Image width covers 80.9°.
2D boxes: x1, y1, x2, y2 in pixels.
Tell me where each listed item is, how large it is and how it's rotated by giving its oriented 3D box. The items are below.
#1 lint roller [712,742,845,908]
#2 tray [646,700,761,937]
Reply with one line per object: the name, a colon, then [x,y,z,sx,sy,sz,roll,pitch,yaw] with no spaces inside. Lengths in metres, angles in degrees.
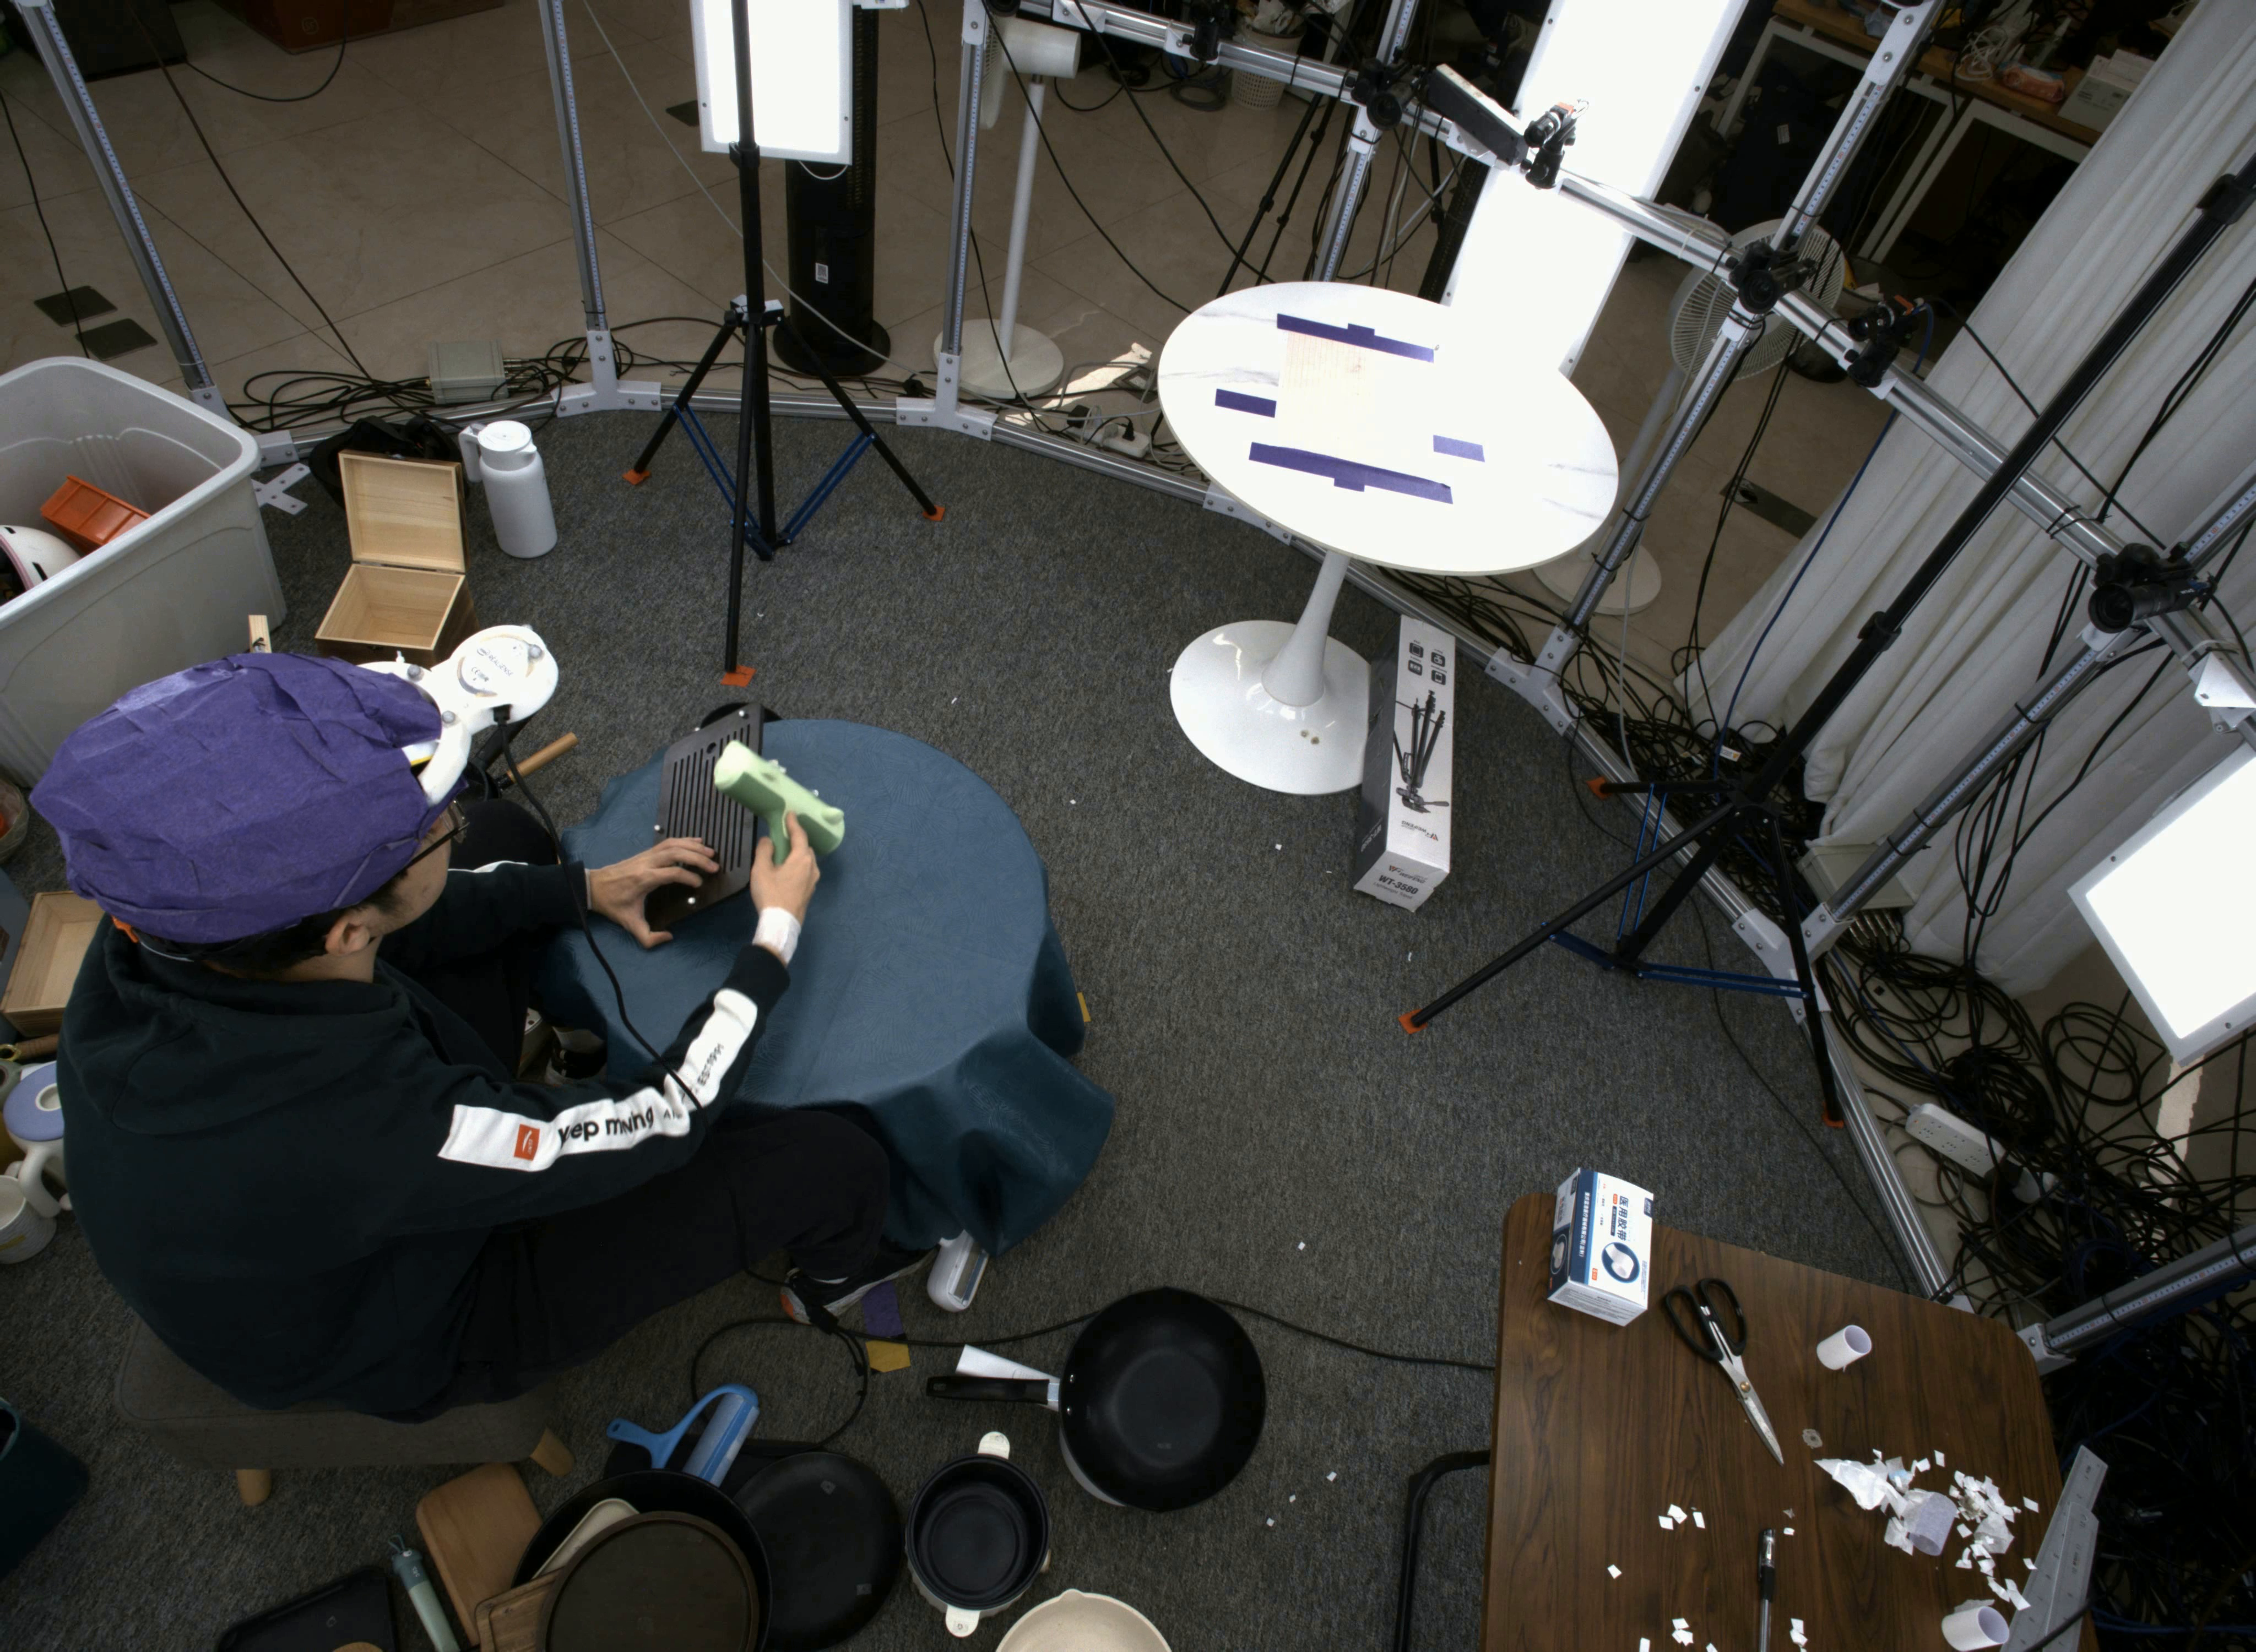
lint roller: [-0.408,0.009,1.566,0.081,0.206,0.178,-31,52,13]
tray: [-0.536,-0.014,1.642,0.167,0.019,0.299,-23,53,19]
